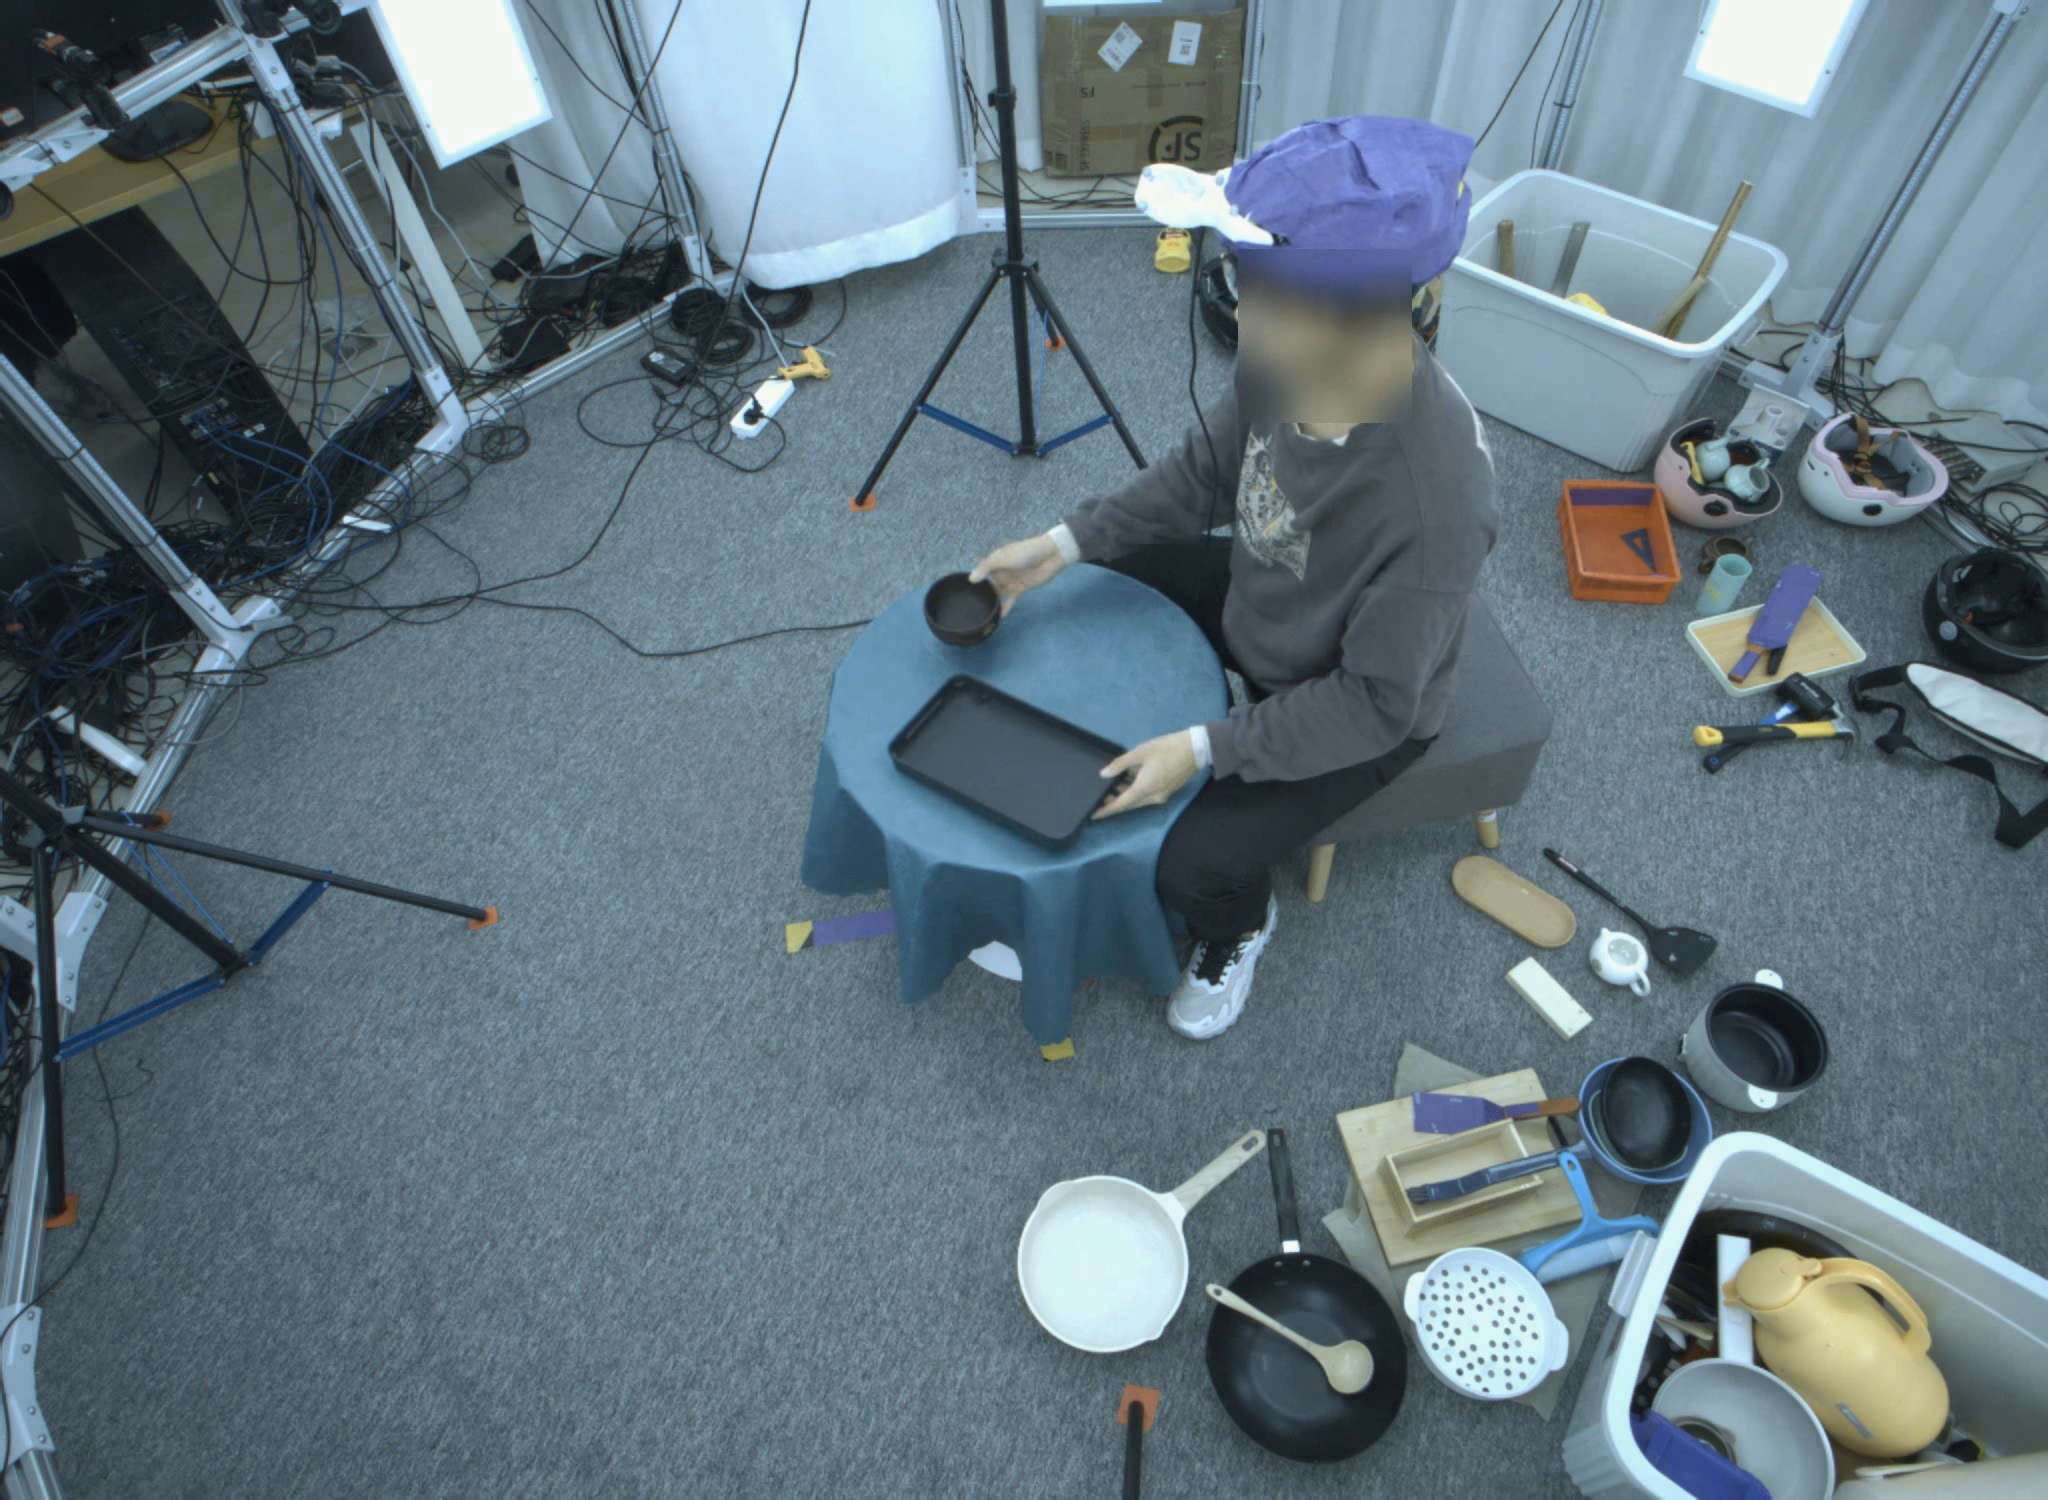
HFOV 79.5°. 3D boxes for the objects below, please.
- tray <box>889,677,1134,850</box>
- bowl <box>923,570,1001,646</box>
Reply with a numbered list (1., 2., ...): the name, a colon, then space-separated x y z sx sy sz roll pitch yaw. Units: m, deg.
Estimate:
1. tray: -0.019 0.014 1.740 0.312 0.037 0.185 24 57 23
2. bowl: -0.093 -0.208 1.864 0.118 0.070 0.117 0 59 1
